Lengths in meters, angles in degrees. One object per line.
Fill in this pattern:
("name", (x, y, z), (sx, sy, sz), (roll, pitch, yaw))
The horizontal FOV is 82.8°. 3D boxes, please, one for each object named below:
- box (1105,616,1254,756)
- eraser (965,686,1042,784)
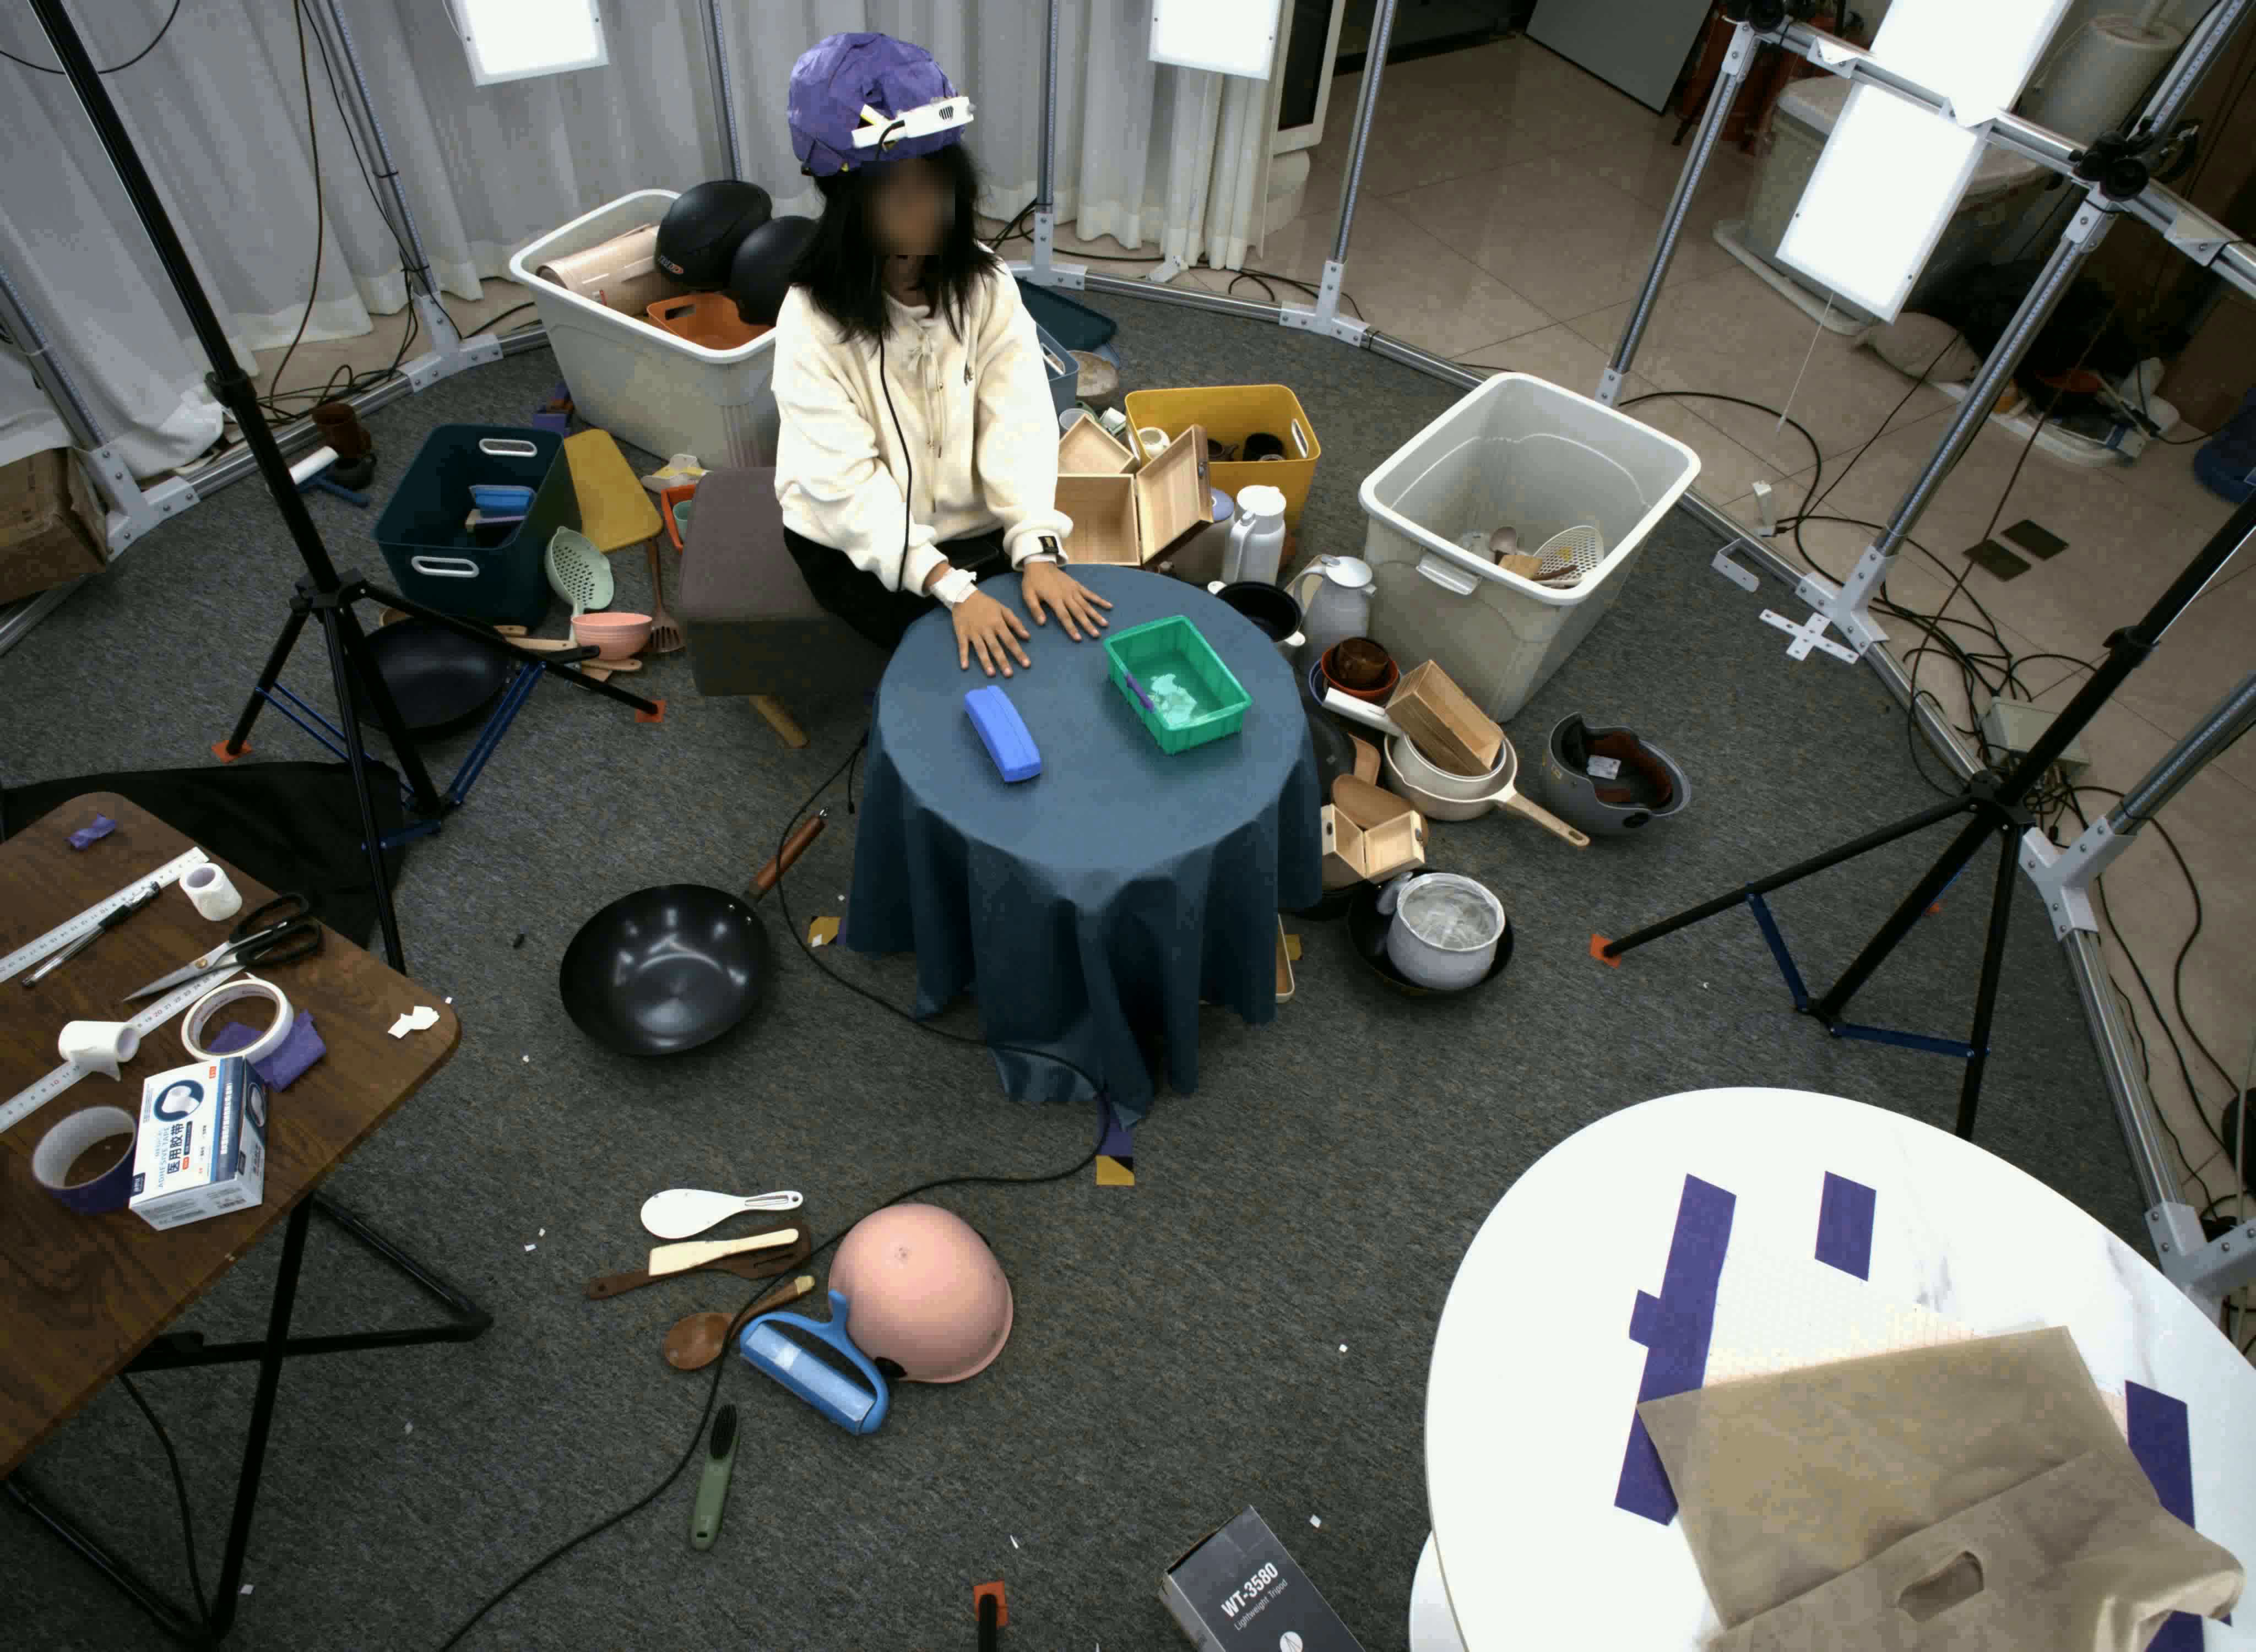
("box", (0.069, -0.196, 1.805), (0.139, 0.064, 0.215), (-22, 54, -19))
("eraser", (-0.170, -0.129, 1.741), (0.054, 0.046, 0.166), (-18, 53, -19))
